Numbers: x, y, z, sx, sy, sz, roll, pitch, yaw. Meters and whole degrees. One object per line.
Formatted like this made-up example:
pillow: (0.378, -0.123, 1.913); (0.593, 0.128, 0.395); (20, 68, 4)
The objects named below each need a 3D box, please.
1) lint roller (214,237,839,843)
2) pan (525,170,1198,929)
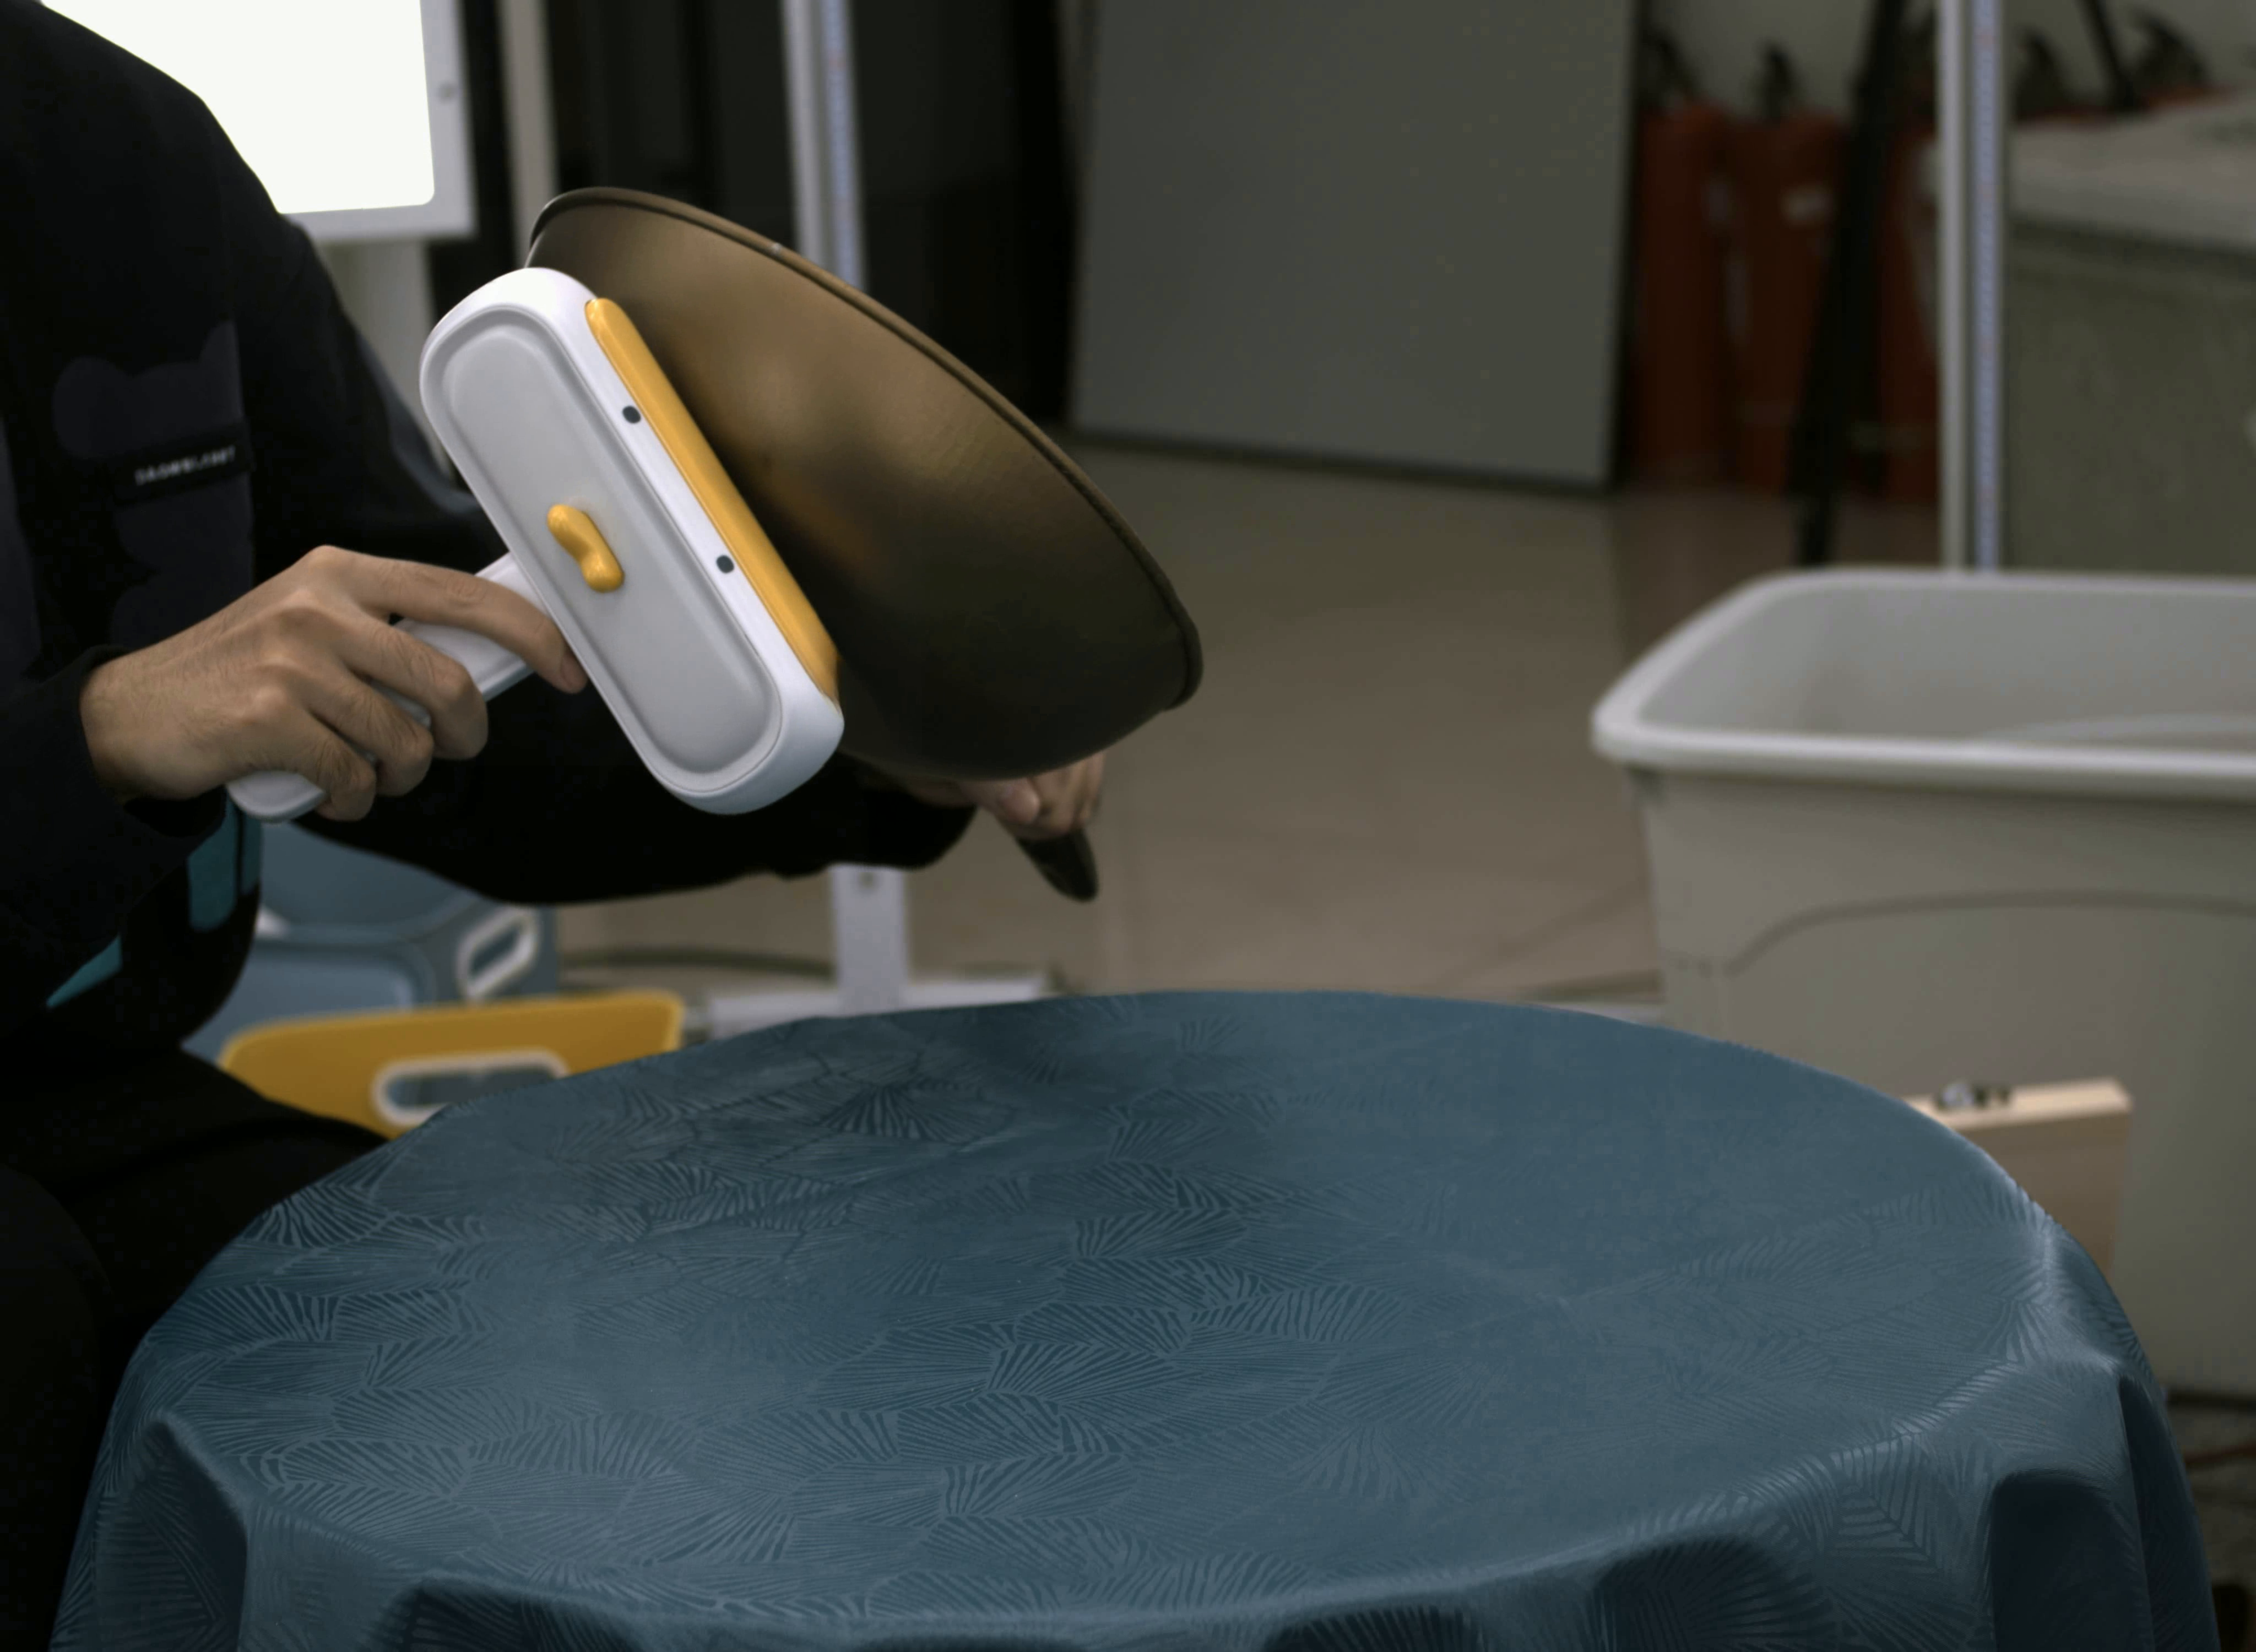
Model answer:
lint roller: (-0.212, -0.065, 1.762); (0.192, 0.193, 0.074); (-37, 0, 11)
pan: (-0.091, -0.056, 1.942); (0.290, 0.461, 0.087); (27, 71, 27)
